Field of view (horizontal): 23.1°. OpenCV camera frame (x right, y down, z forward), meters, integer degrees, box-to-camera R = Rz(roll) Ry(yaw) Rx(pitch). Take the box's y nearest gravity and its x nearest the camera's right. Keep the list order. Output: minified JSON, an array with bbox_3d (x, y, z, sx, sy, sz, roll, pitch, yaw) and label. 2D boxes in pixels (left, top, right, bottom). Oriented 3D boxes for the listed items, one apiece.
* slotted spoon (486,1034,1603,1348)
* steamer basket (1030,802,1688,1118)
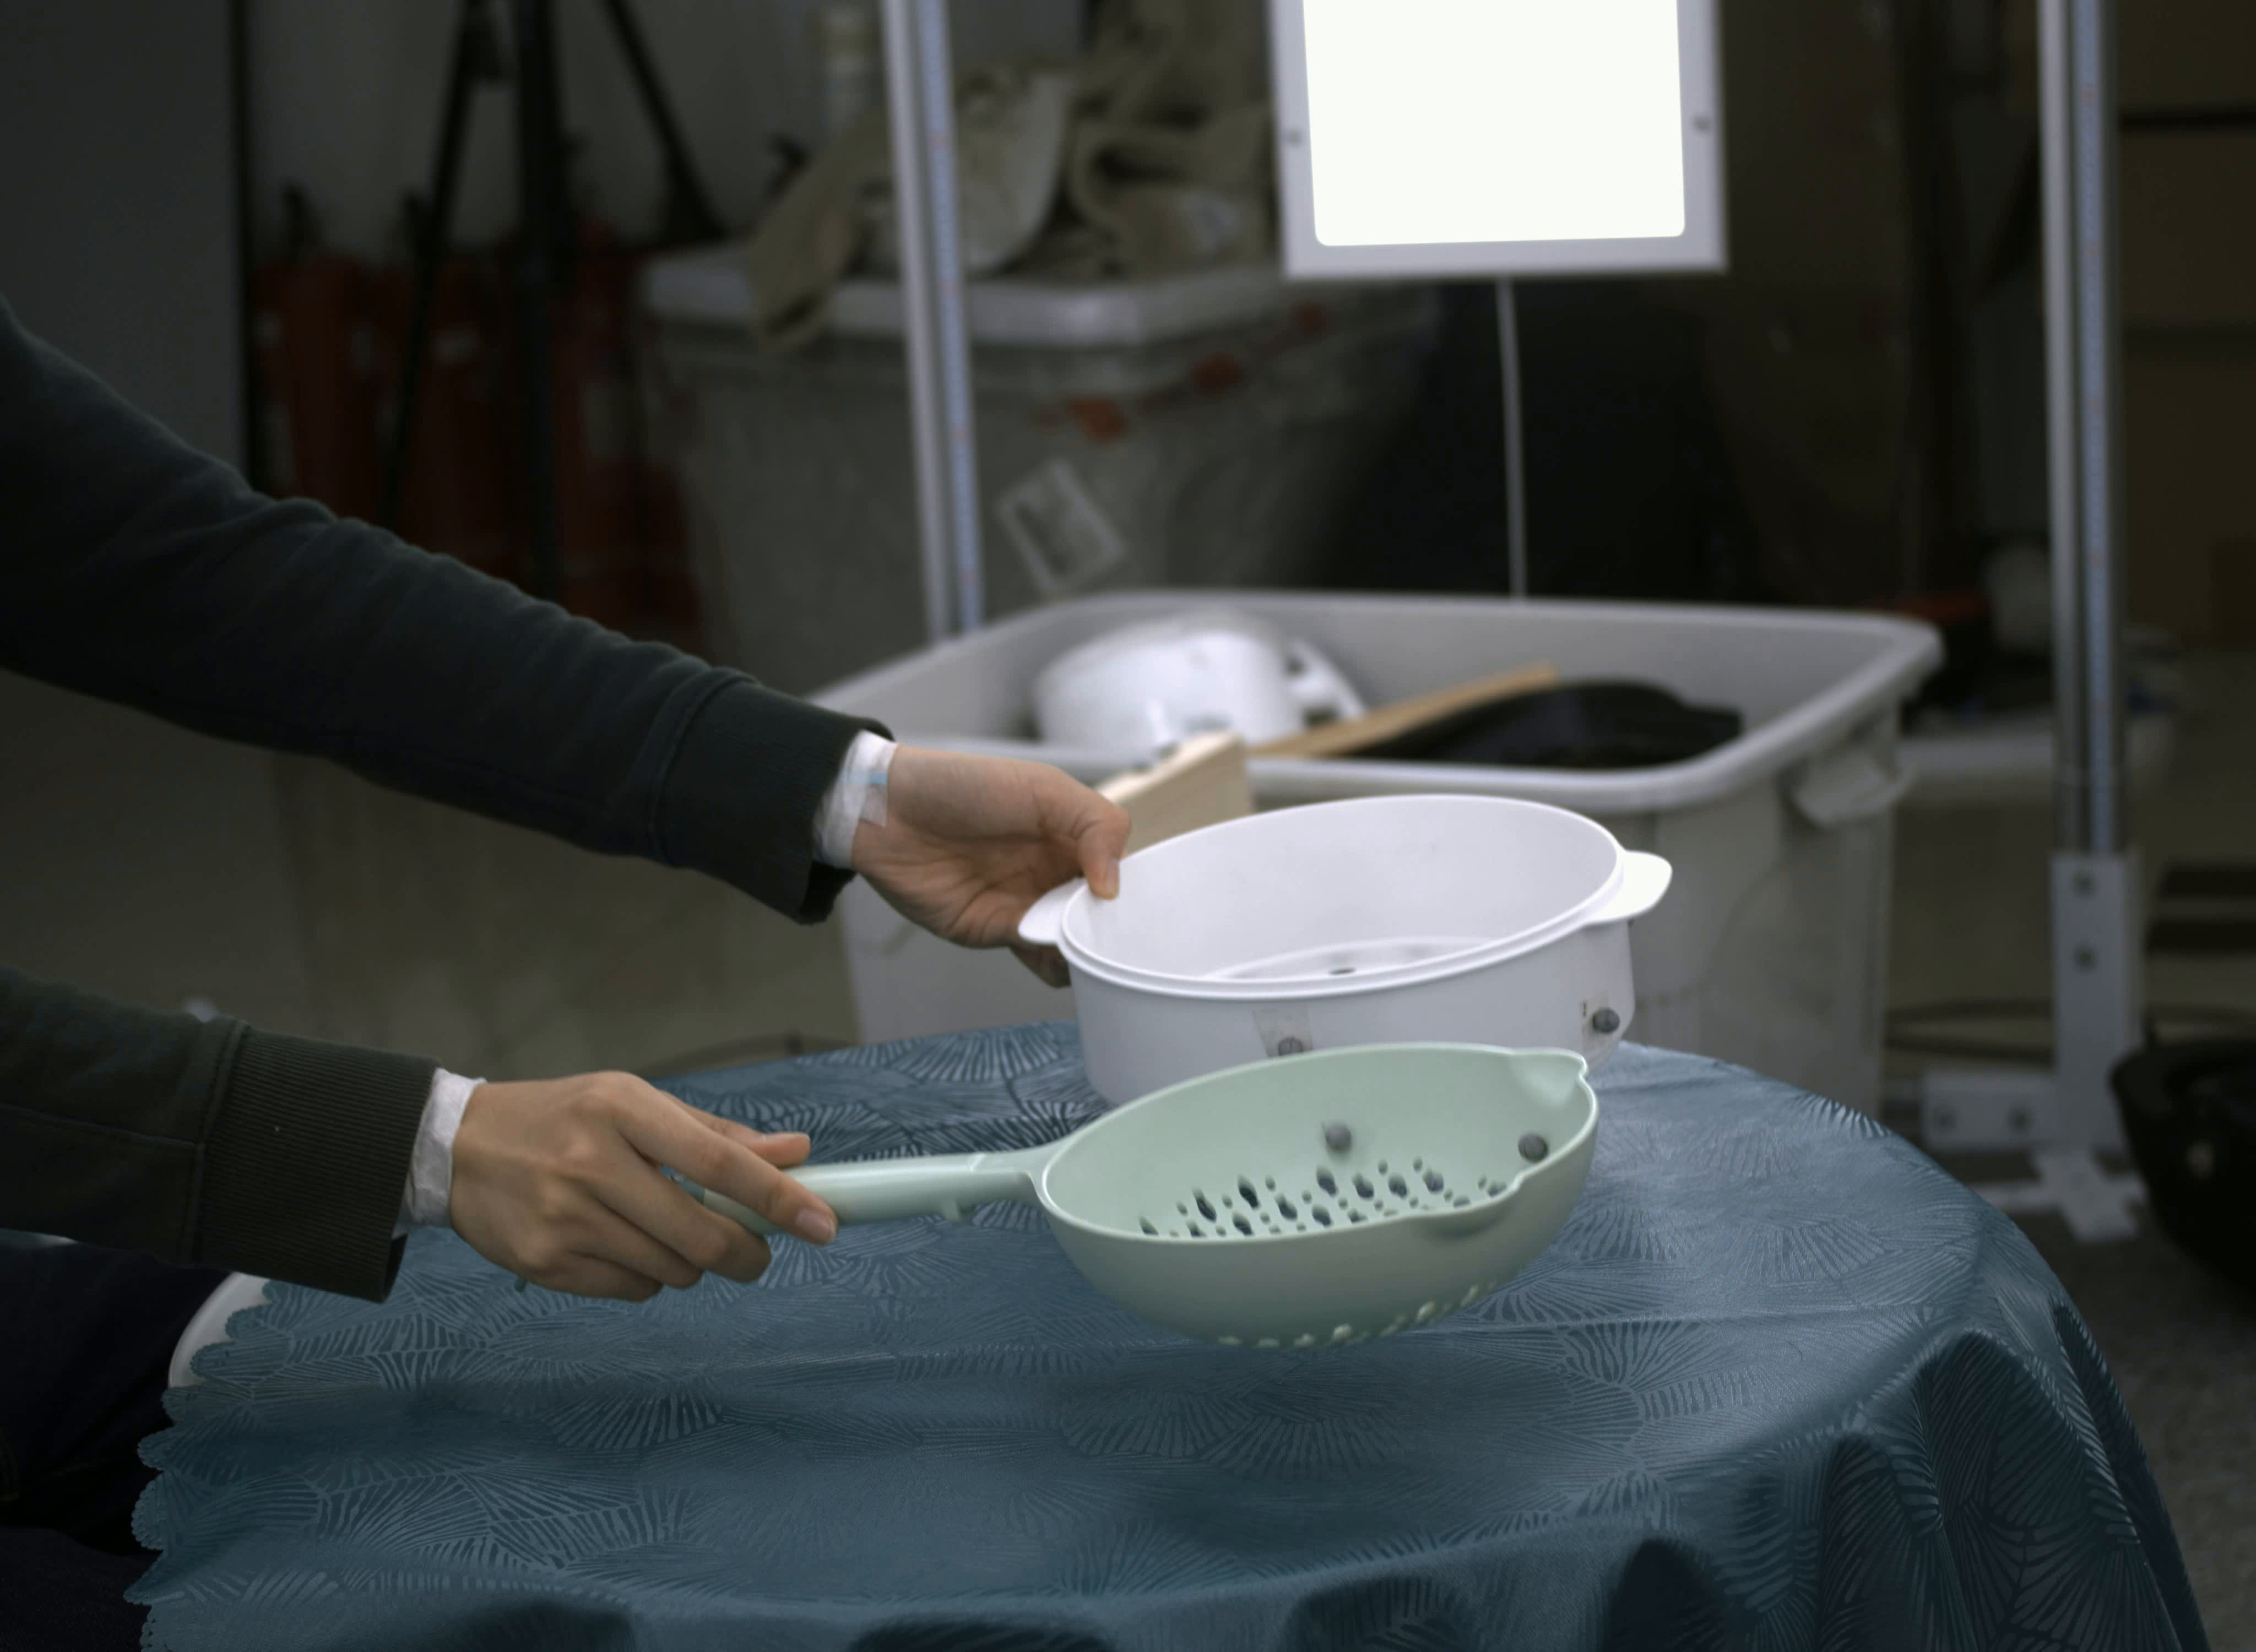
[{"bbox_3d":[-0.033,0.111,1.683,0.363,0.076,0.166,4,18,18],"label":"slotted spoon"},{"bbox_3d":[0.083,0.052,1.909,0.233,0.069,0.199,-4,17,18],"label":"steamer basket"}]
